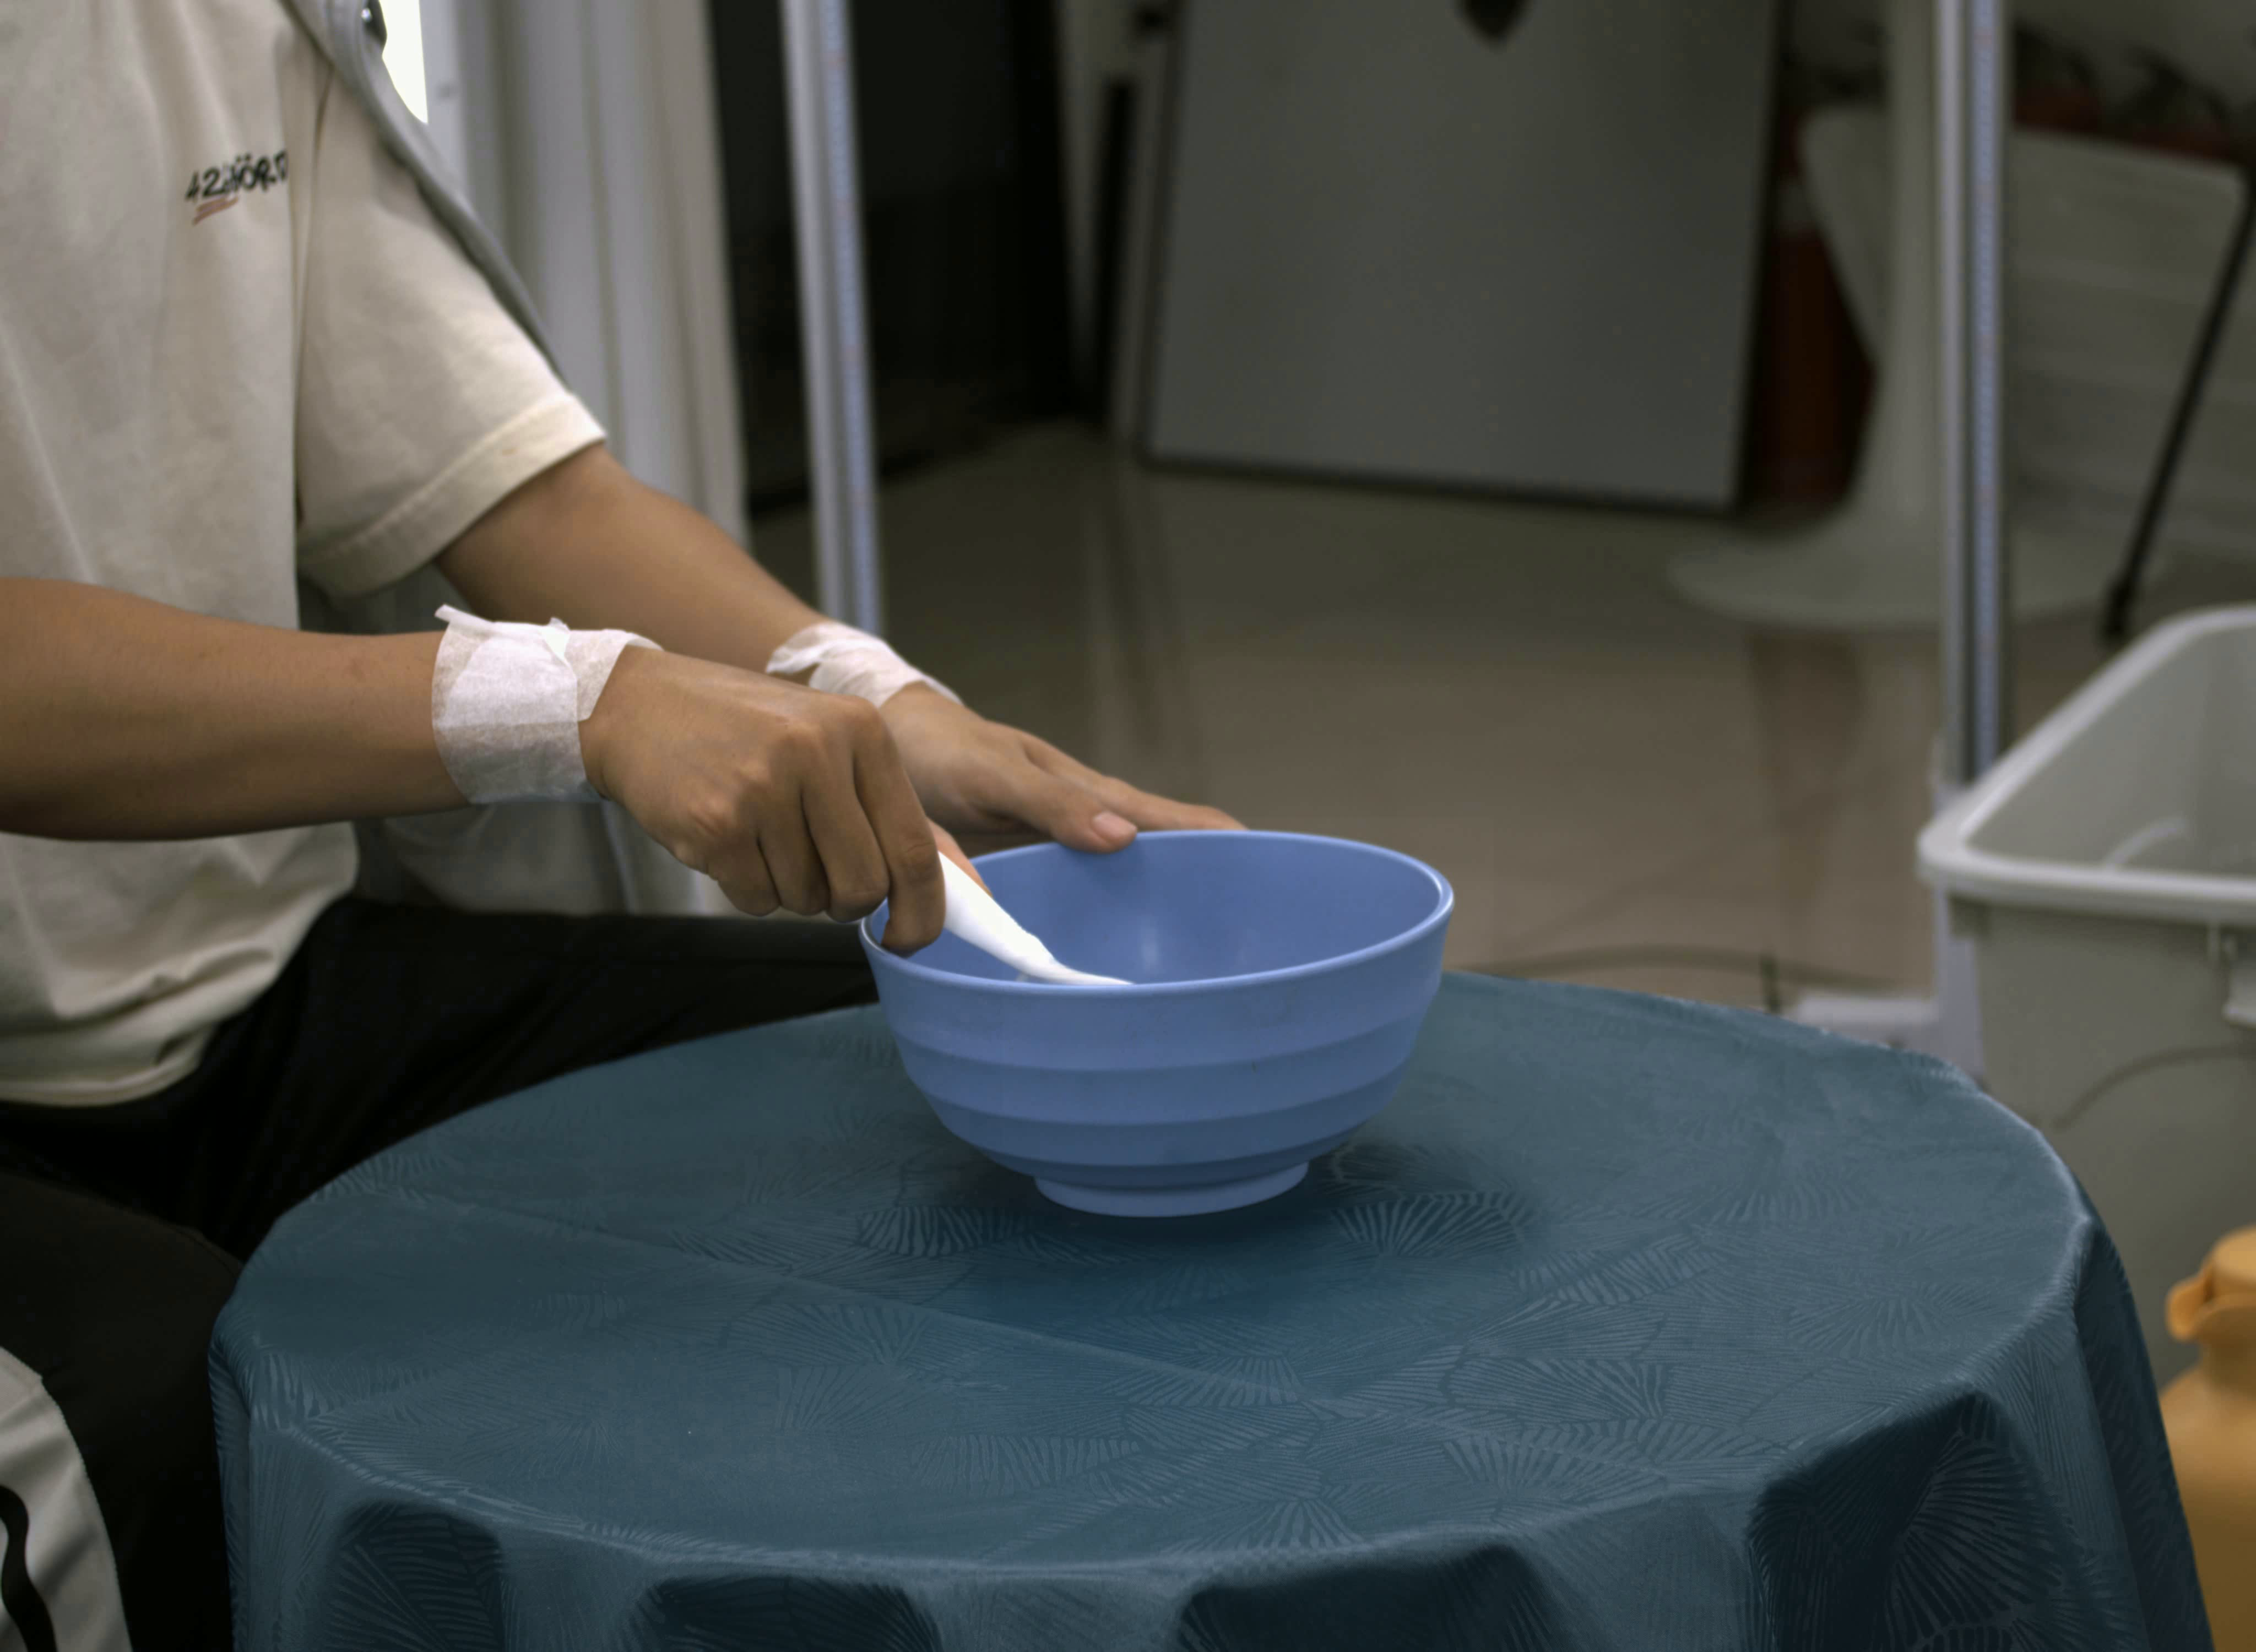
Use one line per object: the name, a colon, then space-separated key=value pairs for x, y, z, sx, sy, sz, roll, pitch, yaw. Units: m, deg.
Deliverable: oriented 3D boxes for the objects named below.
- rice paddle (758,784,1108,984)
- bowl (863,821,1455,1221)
rice paddle: x=-0.025 y=0.049 z=1.756 sx=0.203 sy=0.030 sz=0.069 roll=30 pitch=20 yaw=-4
bowl: x=0.012 y=0.070 z=1.776 sx=0.194 sy=0.096 sz=0.197 roll=-3 pitch=16 yaw=0
